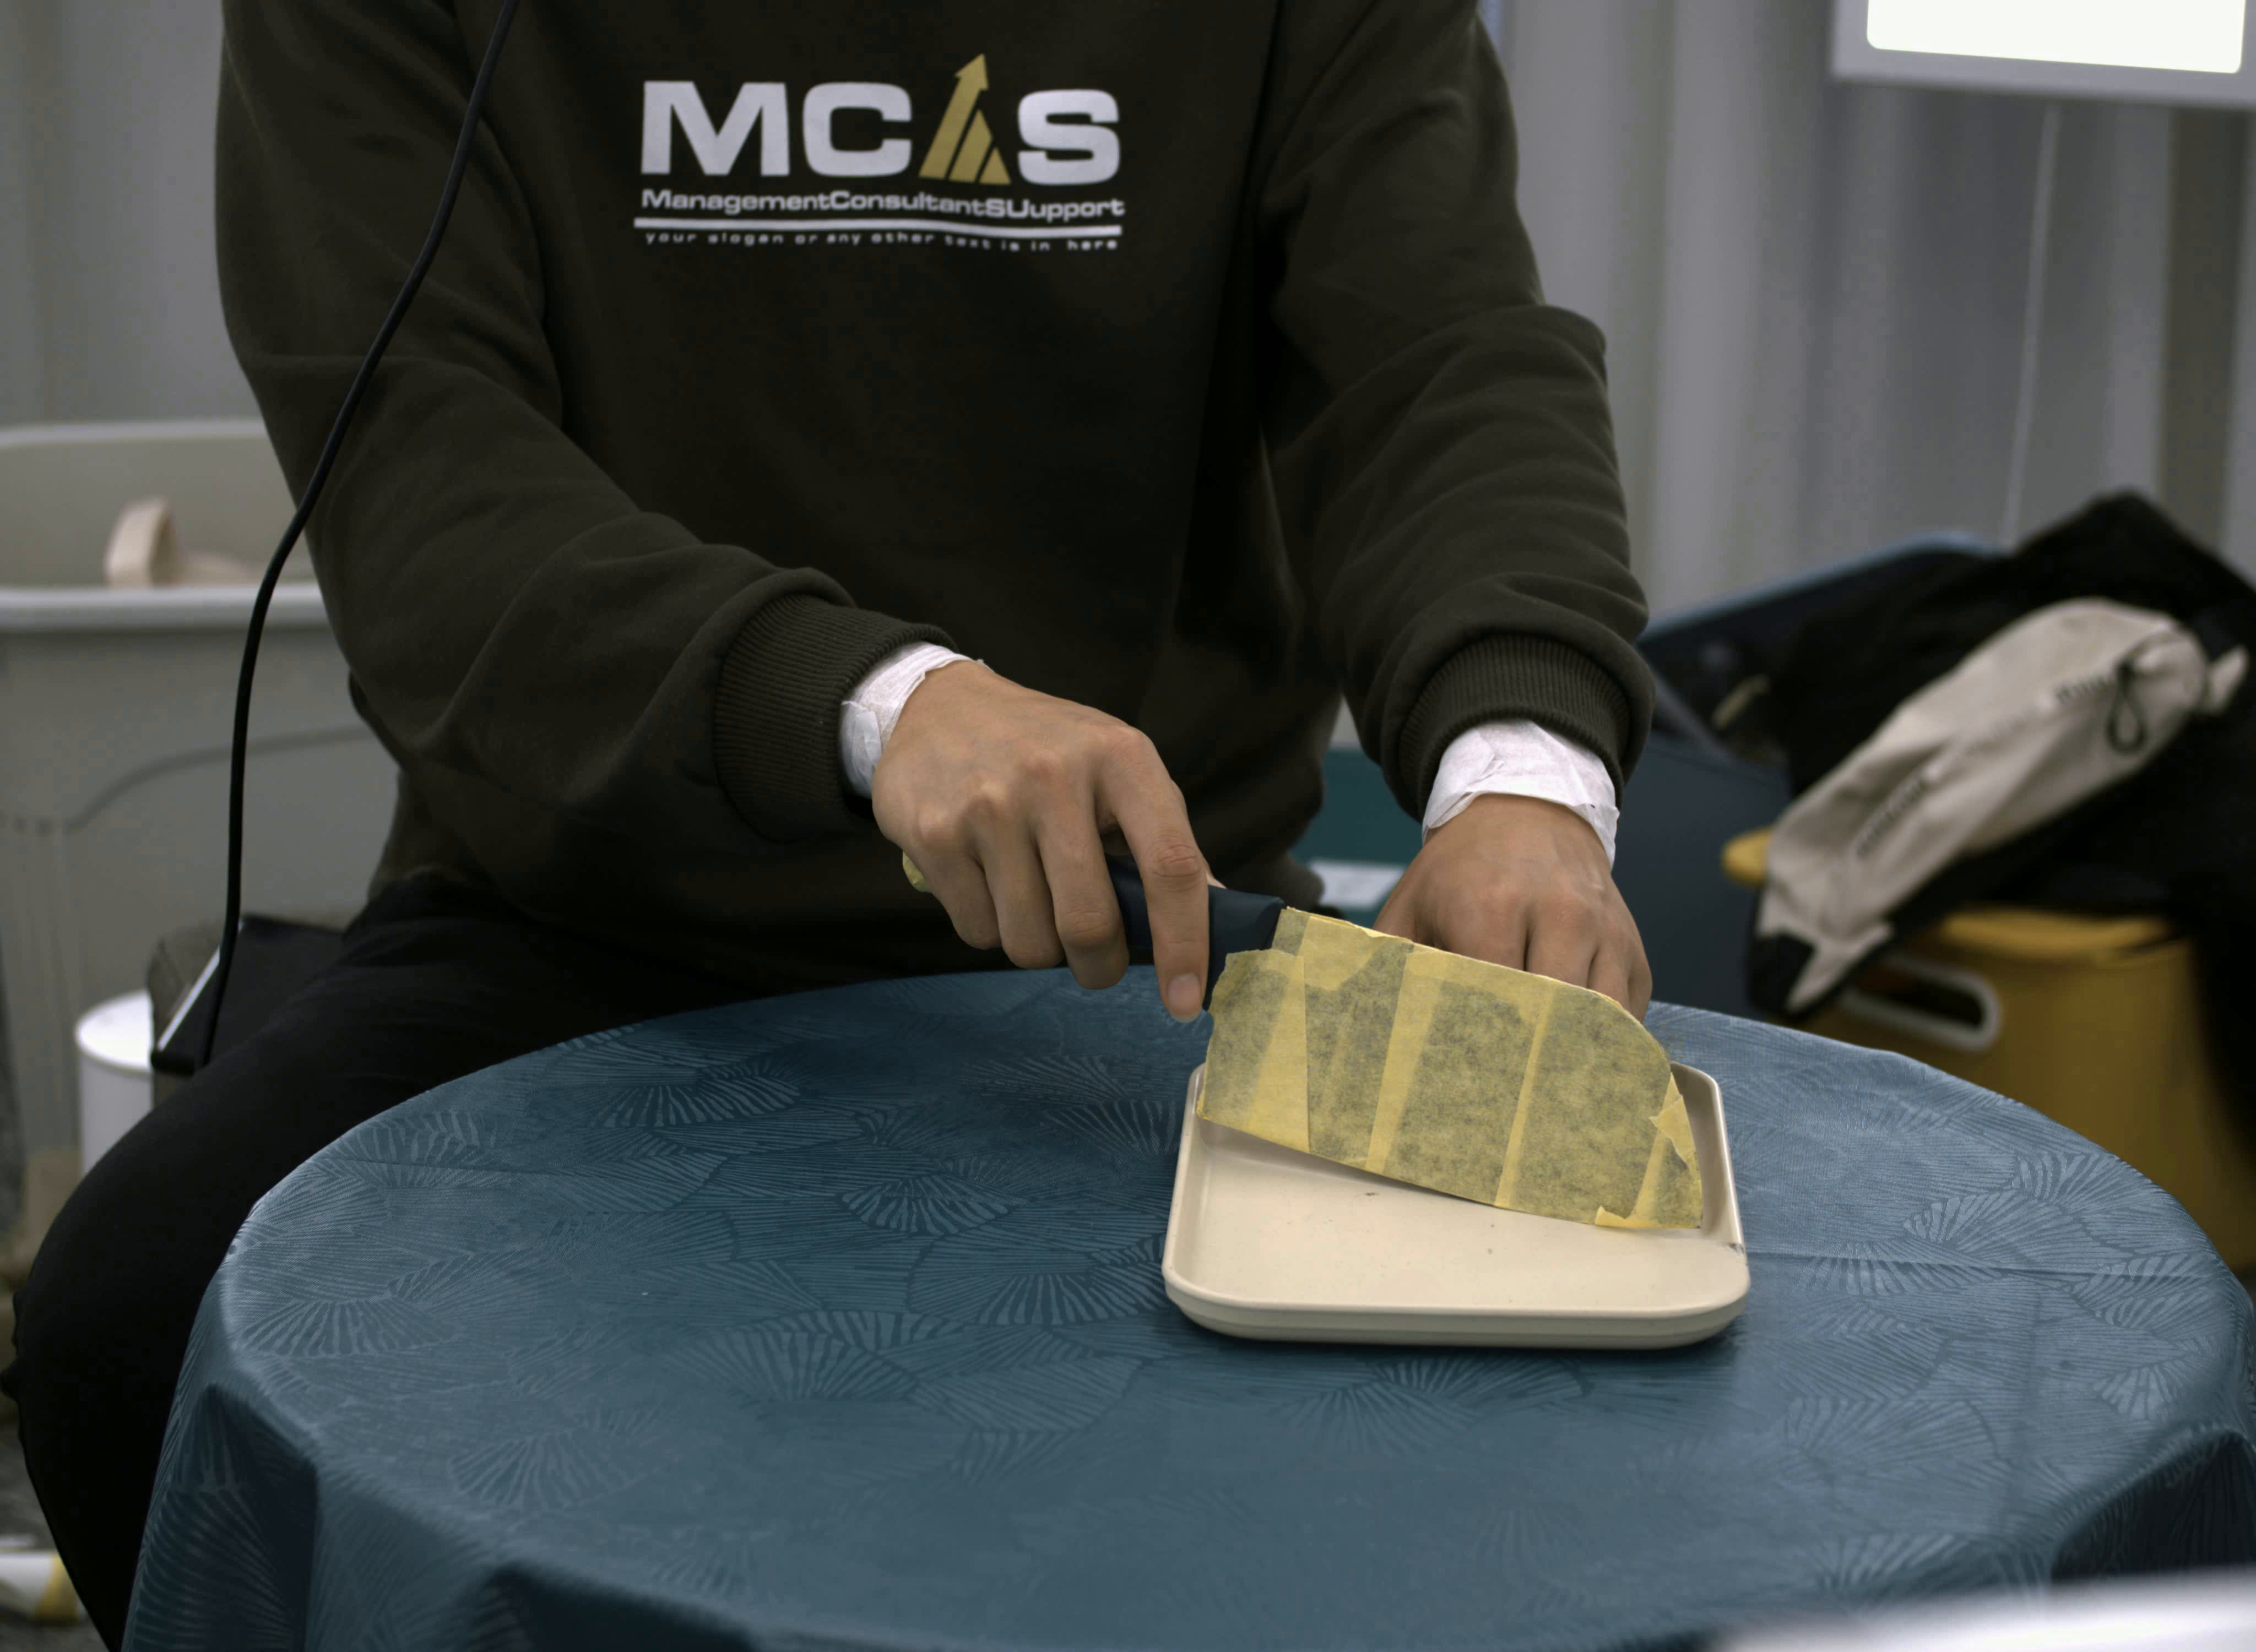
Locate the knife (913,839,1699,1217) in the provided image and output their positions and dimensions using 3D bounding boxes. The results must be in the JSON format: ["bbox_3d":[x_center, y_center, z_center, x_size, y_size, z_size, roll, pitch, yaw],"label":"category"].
[{"bbox_3d":[0.051,0.060,1.640,0.286,0.081,0.027,18,5,28],"label":"knife"}]

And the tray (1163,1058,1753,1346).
[{"bbox_3d":[0.098,0.112,1.597,0.170,0.017,0.238,1,15,2],"label":"tray"}]
